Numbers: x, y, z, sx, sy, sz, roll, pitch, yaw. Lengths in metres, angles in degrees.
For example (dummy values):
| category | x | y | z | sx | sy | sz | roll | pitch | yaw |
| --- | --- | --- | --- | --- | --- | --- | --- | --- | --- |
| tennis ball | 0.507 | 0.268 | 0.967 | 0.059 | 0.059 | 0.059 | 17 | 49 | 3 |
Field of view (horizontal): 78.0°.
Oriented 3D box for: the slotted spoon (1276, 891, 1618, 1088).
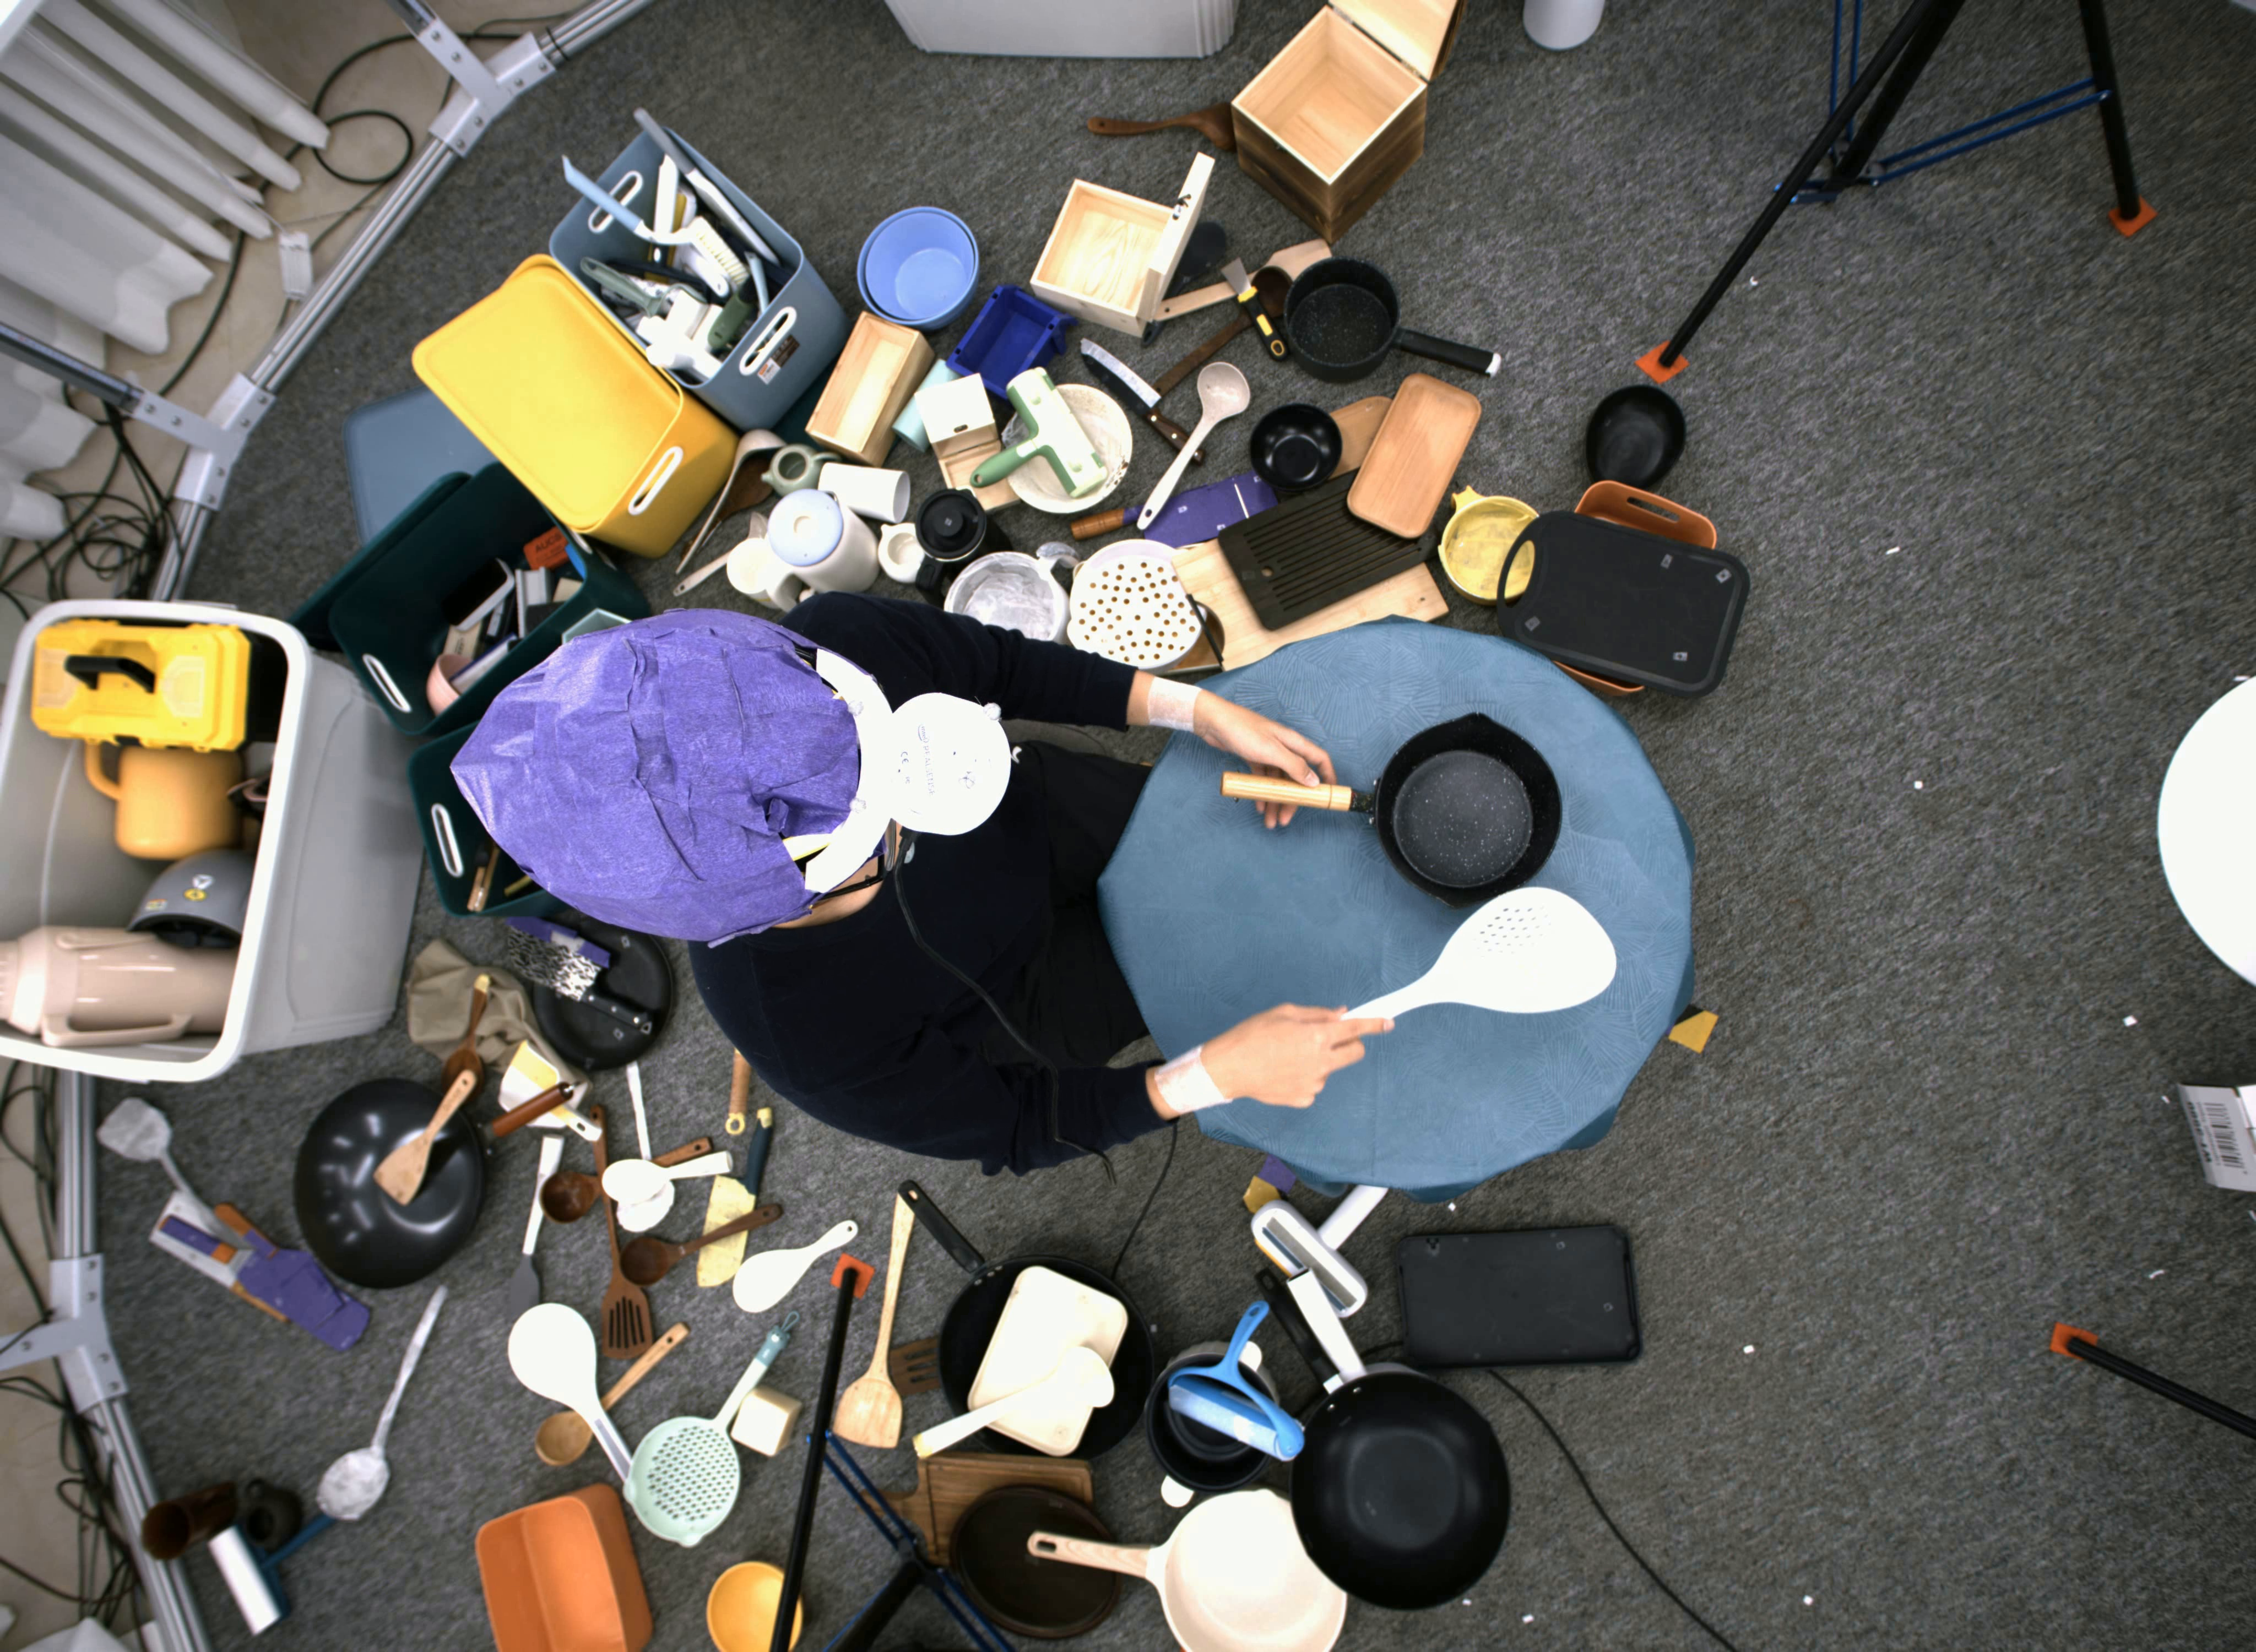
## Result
| category | x | y | z | sx | sy | sz | roll | pitch | yaw |
| --- | --- | --- | --- | --- | --- | --- | --- | --- | --- |
| slotted spoon | 0.292 | 0.161 | 1.288 | 0.346 | 0.051 | 0.134 | -18 | 53 | -15 |

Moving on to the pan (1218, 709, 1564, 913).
| category | x | y | z | sx | sy | sz | roll | pitch | yaw |
| --- | --- | --- | --- | --- | --- | --- | --- | --- | --- |
| pan | 0.265 | -0.021 | 1.411 | 0.344 | 0.108 | 0.207 | 5 | 88 | 9 |
